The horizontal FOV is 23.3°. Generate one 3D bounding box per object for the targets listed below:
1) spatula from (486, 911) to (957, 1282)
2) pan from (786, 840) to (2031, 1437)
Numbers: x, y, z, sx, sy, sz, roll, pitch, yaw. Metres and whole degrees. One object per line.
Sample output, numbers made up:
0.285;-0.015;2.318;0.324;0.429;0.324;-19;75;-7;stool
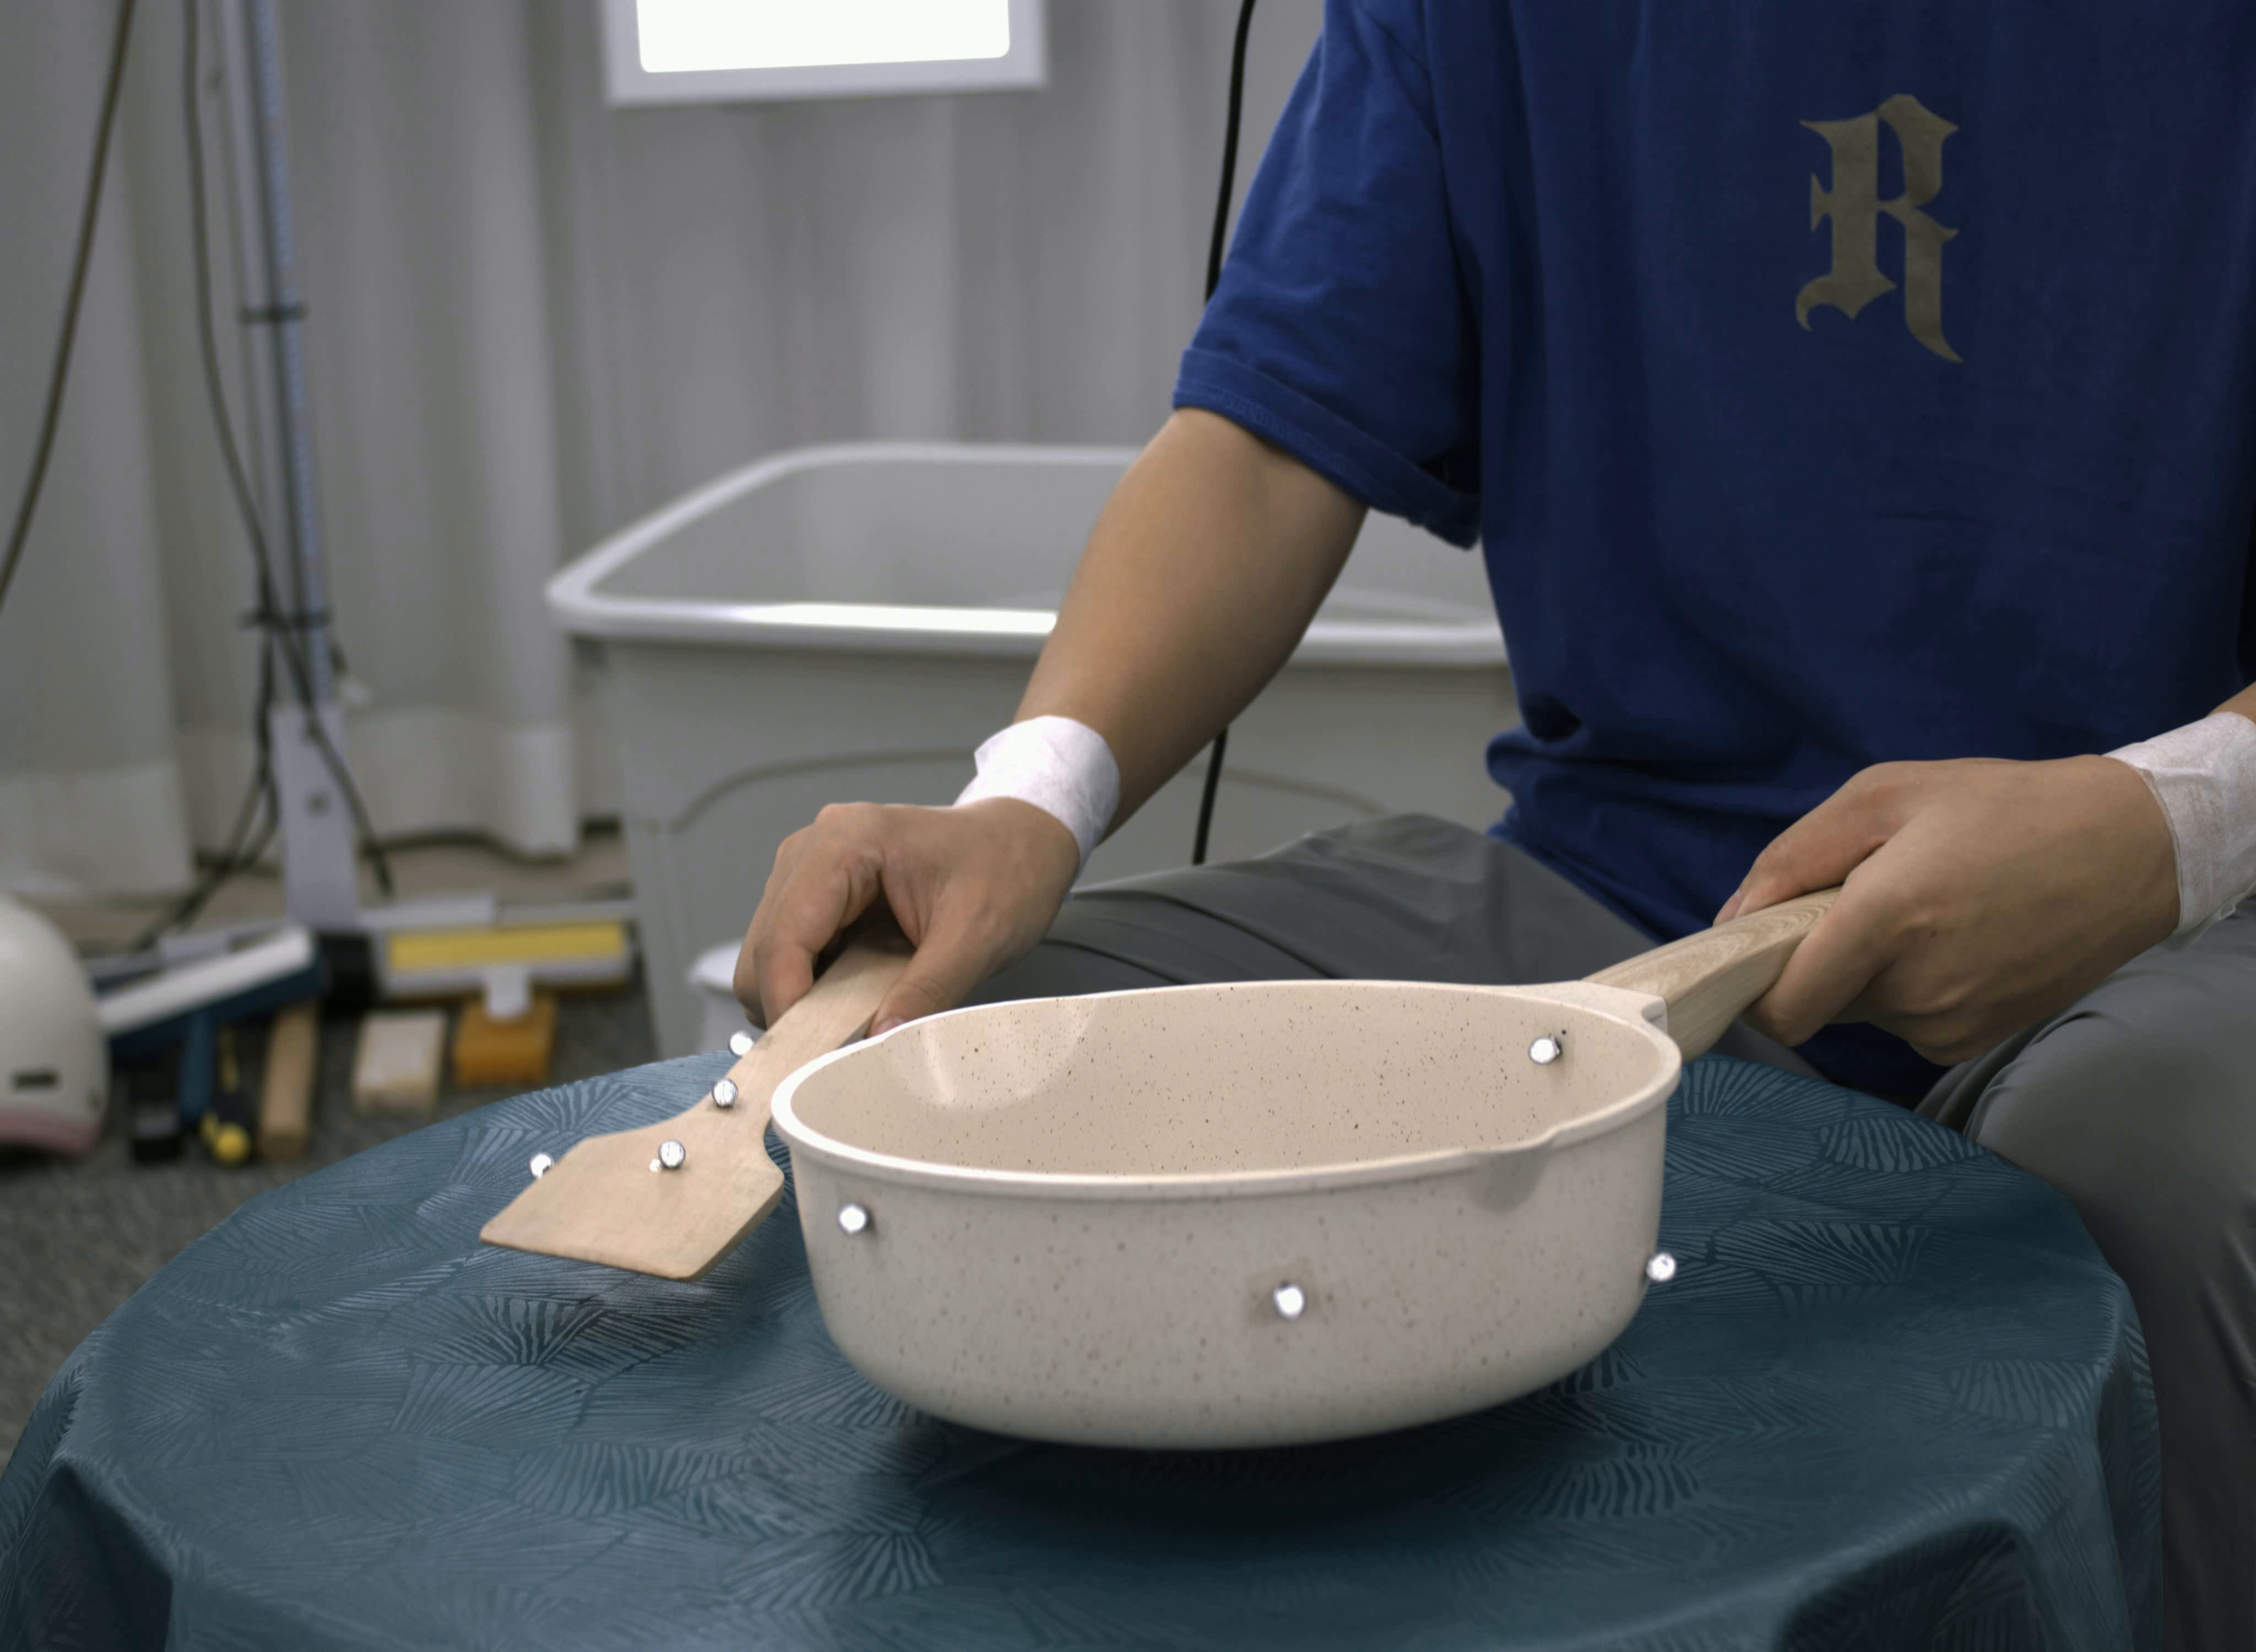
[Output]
-0.114;0.080;1.723;0.072;0.010;0.294;9;22;16;spatula
0.106;0.085;1.556;0.433;0.102;0.264;-10;10;-36;pan
